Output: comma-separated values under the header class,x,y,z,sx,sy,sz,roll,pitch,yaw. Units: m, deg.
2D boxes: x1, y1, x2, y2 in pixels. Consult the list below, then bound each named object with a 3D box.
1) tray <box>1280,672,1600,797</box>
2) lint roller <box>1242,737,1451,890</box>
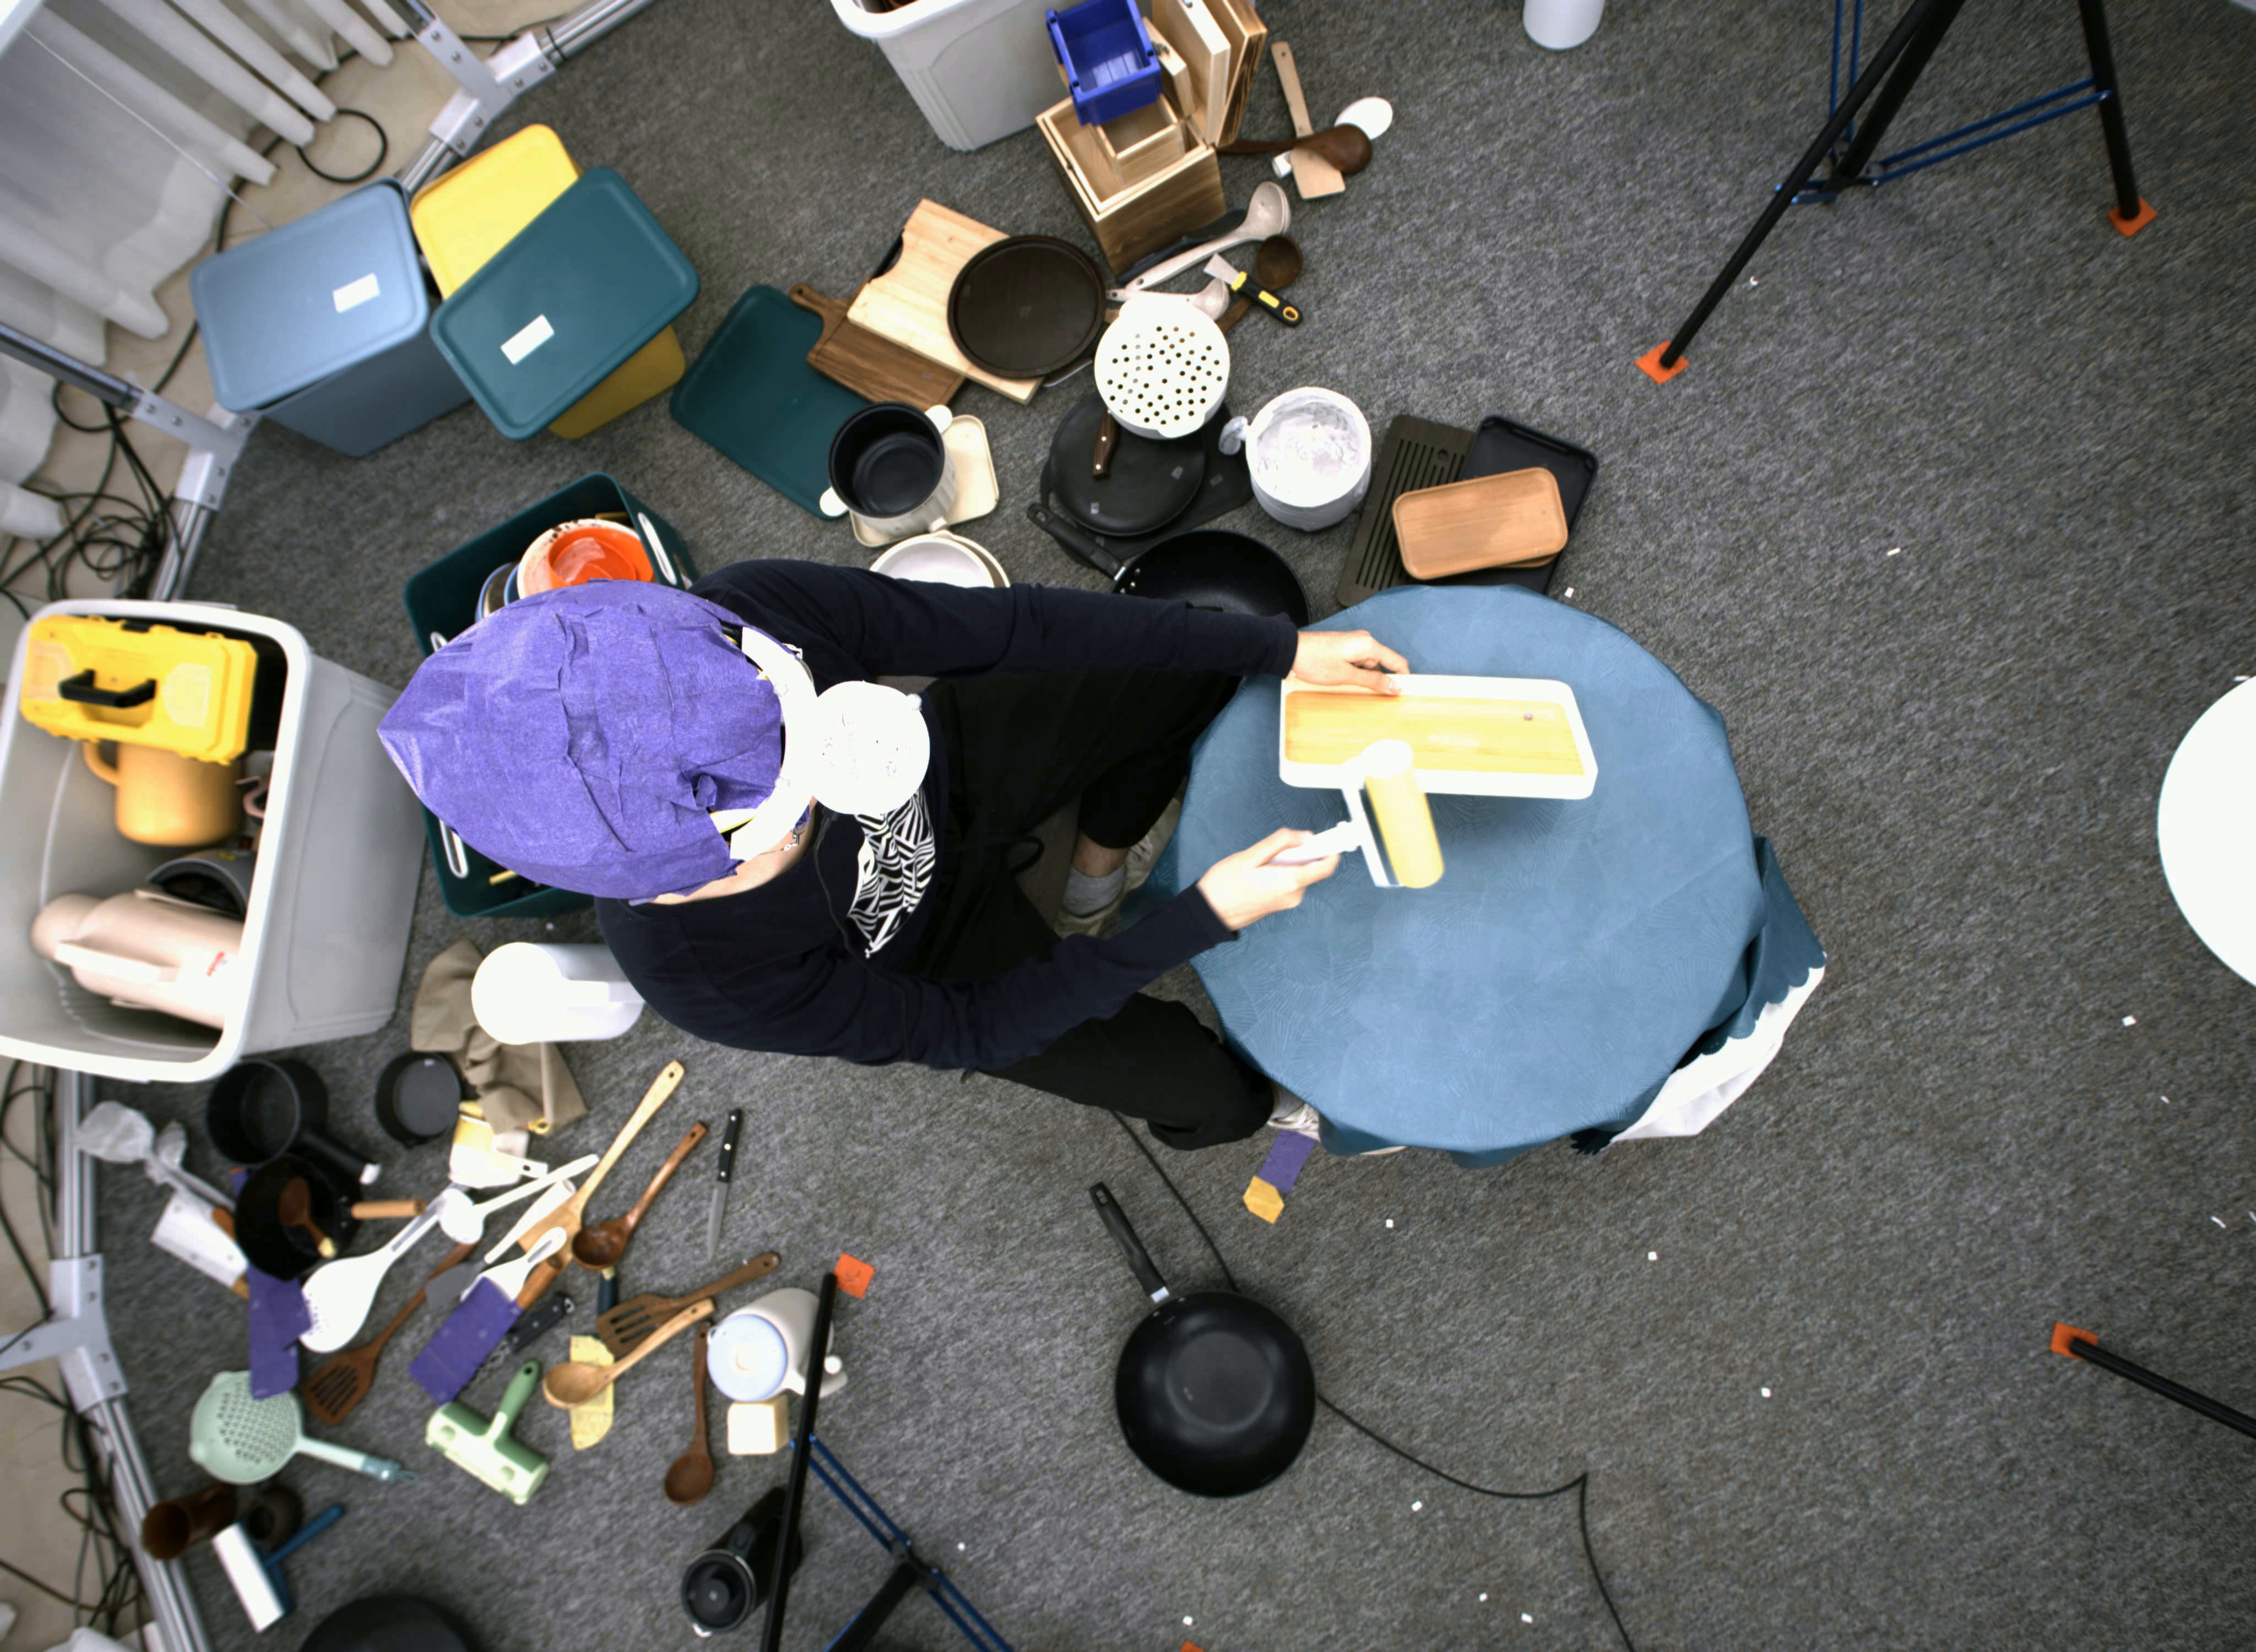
class,x,y,z,sx,sy,sz,roll,pitch,yaw
tray,0.303,-0.096,1.371,0.301,0.186,0.028,2,126,6
lint roller,0.201,0.020,1.306,0.192,0.177,0.050,-28,42,3
